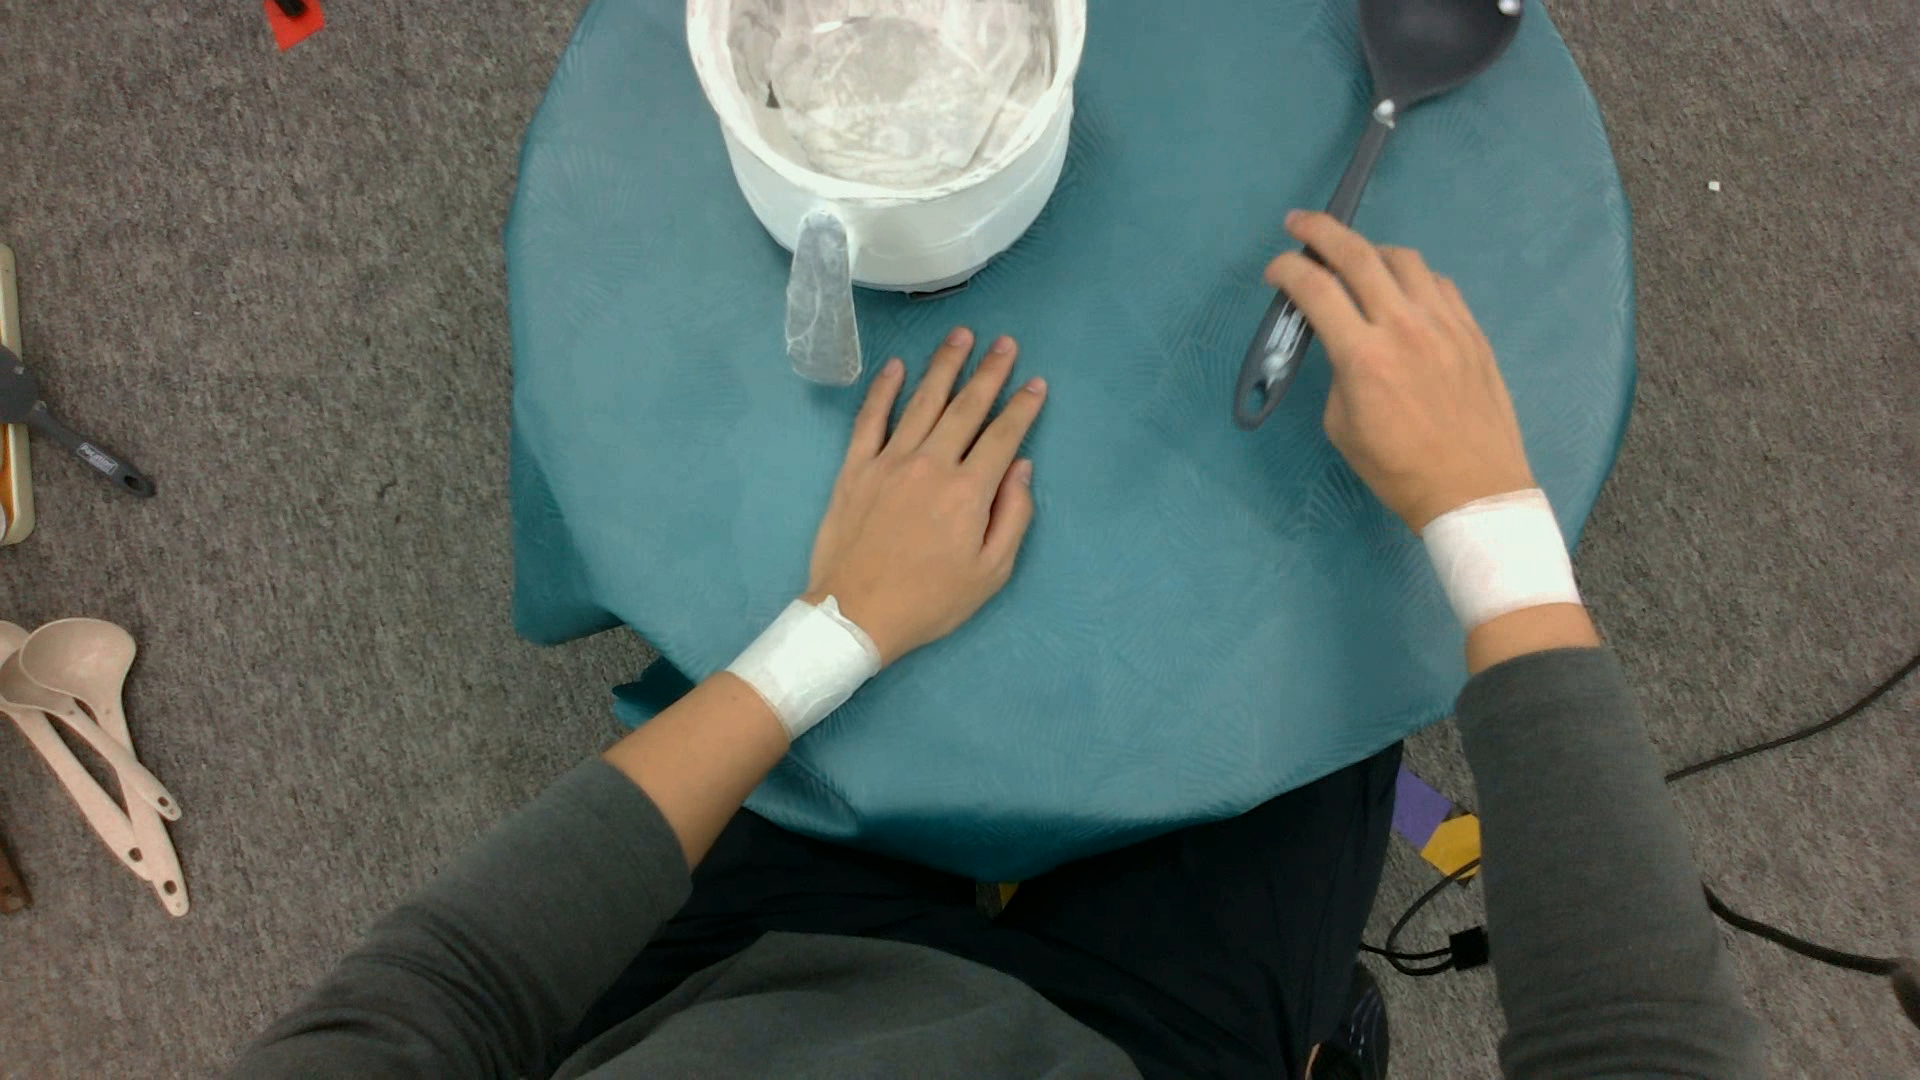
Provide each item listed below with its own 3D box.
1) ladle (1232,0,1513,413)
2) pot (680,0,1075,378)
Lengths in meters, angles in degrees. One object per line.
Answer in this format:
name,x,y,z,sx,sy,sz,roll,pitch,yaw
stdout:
ladle,0.194,-0.187,0.671,0.086,0.063,0.315,27,59,4
pot,-0.044,-0.200,0.673,0.179,0.136,0.234,14,80,2
